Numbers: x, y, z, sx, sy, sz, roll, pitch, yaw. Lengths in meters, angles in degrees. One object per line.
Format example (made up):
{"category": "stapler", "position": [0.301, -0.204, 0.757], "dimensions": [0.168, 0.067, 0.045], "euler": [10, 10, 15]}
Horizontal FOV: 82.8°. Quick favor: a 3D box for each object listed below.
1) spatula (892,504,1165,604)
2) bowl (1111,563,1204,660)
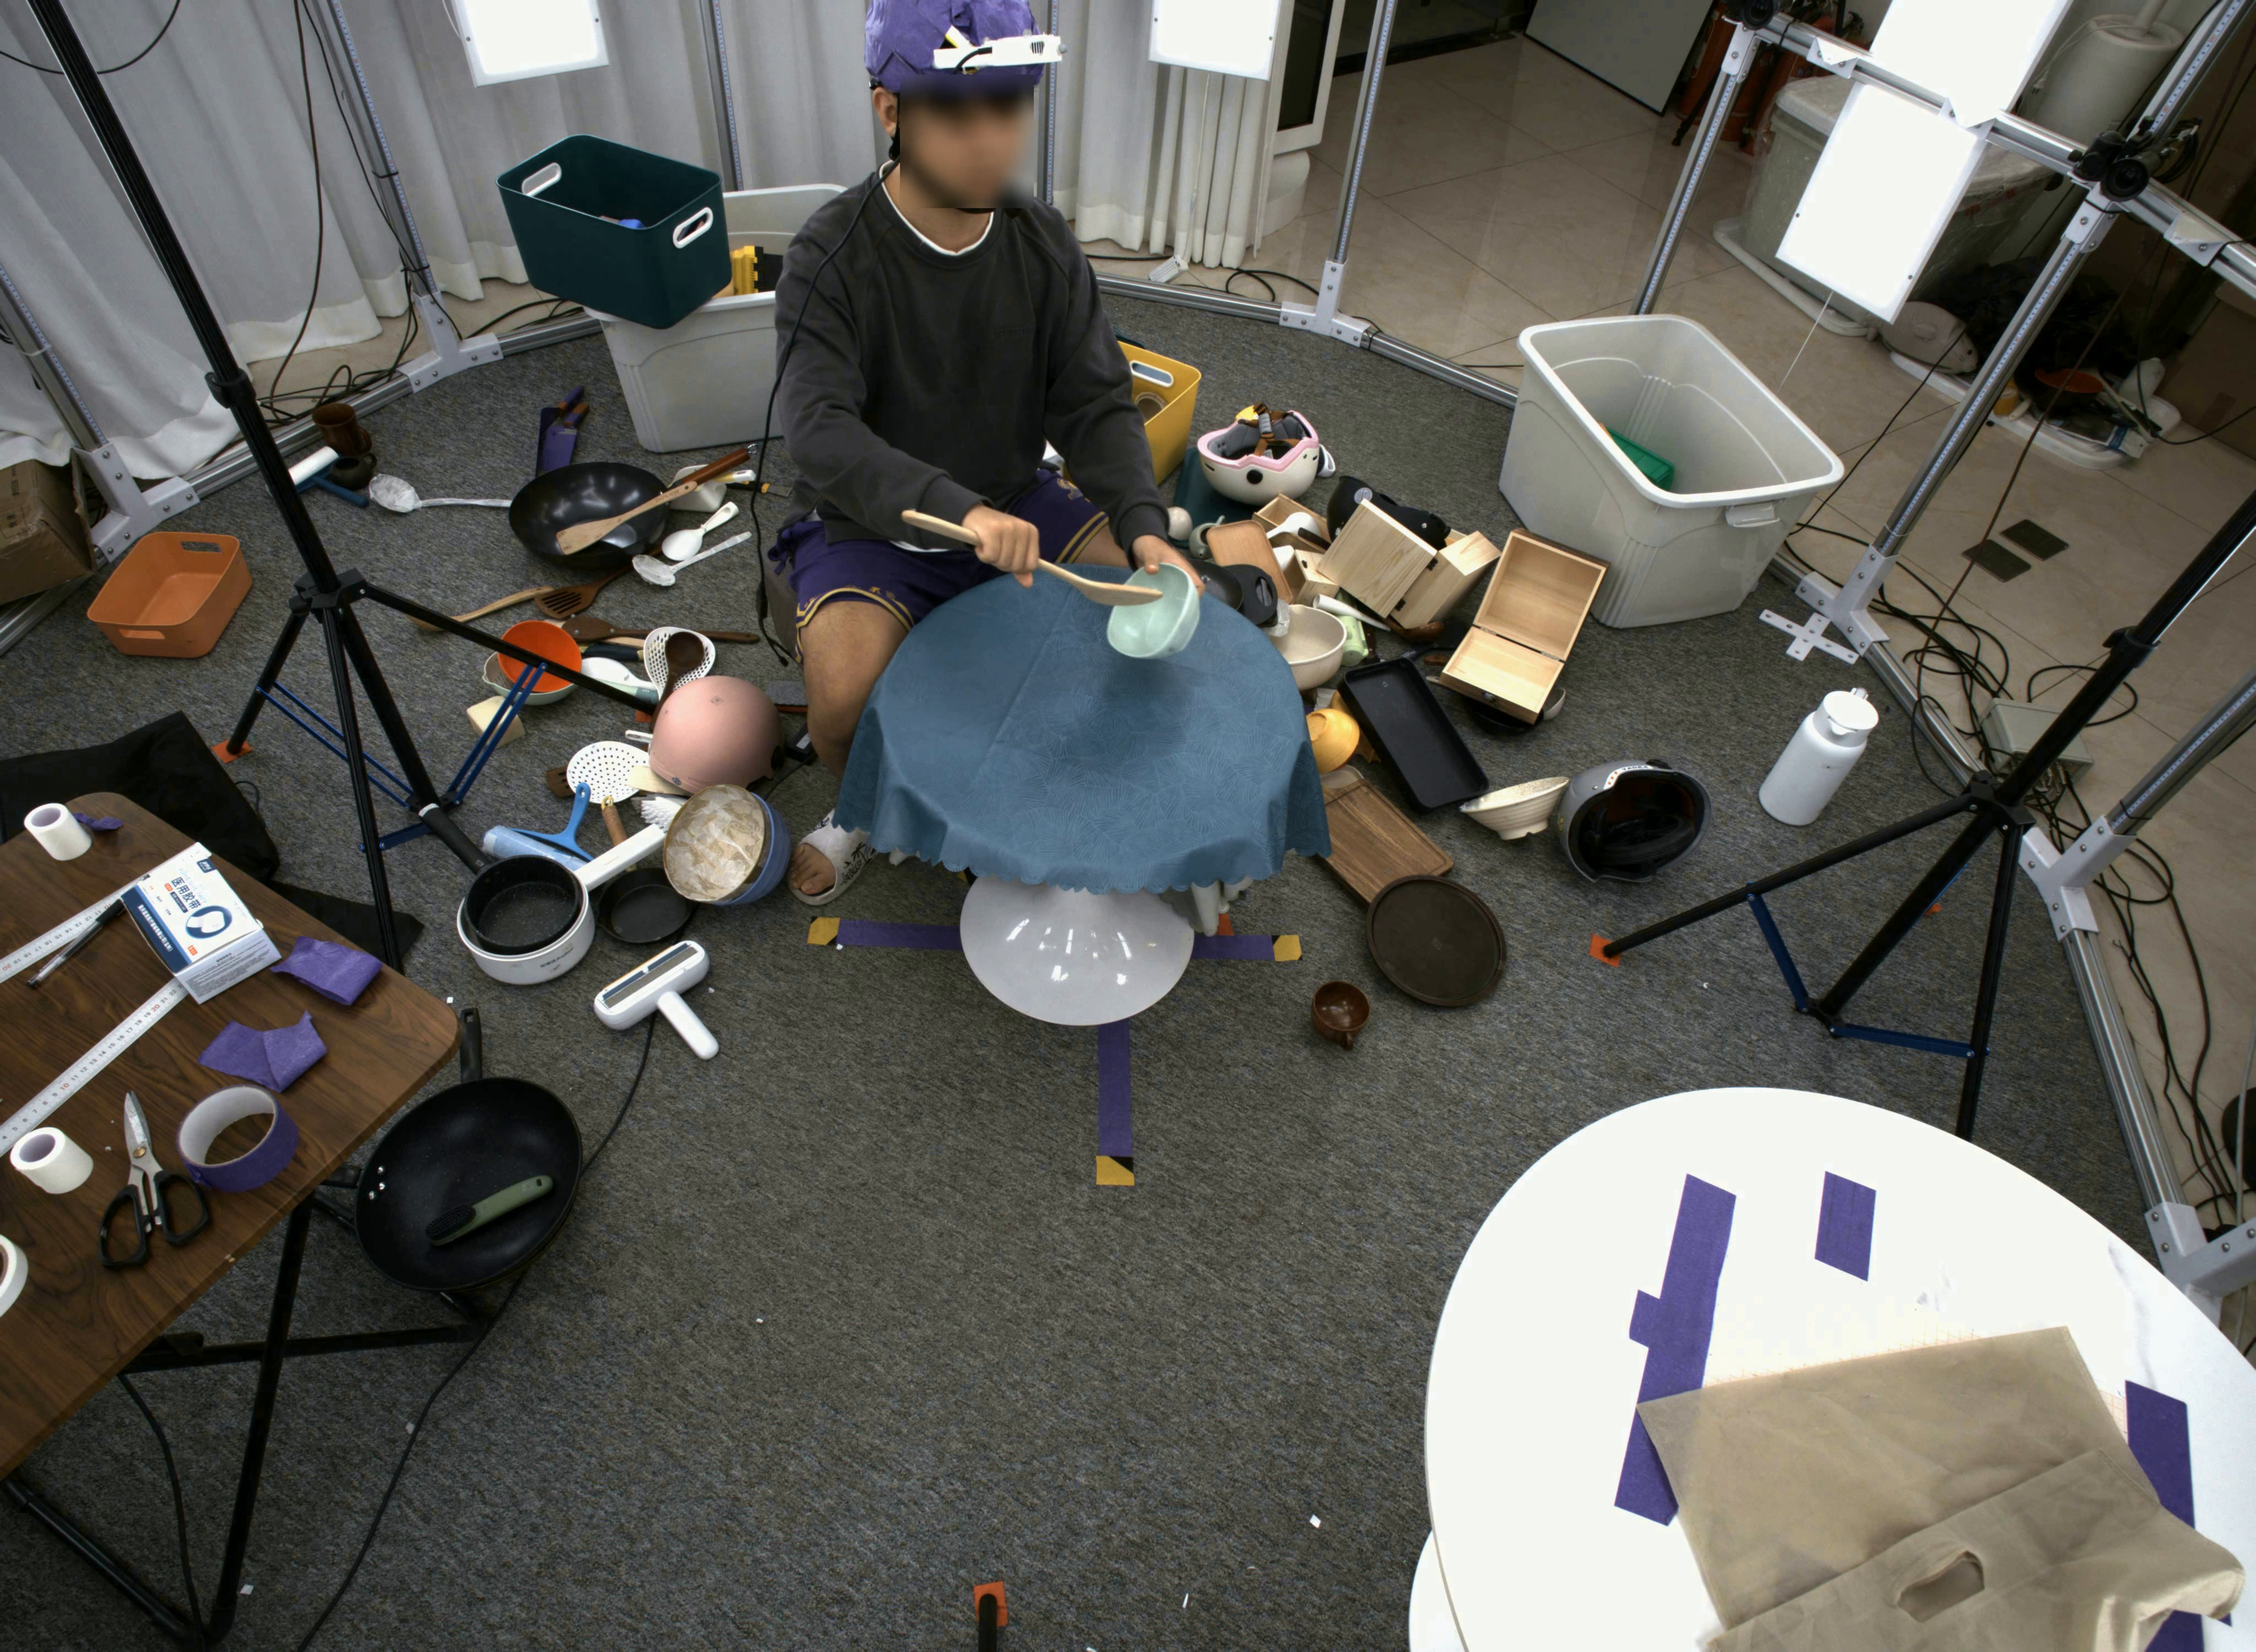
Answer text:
{"category": "spatula", "position": [-0.118, -0.335, 1.605], "dimensions": [0.386, 0.096, 0.018], "euler": [14, 77, -39]}
{"category": "bowl", "position": [0.050, -0.289, 1.782], "dimensions": [0.058, 0.150, 0.155], "euler": [26, 31, -45]}
